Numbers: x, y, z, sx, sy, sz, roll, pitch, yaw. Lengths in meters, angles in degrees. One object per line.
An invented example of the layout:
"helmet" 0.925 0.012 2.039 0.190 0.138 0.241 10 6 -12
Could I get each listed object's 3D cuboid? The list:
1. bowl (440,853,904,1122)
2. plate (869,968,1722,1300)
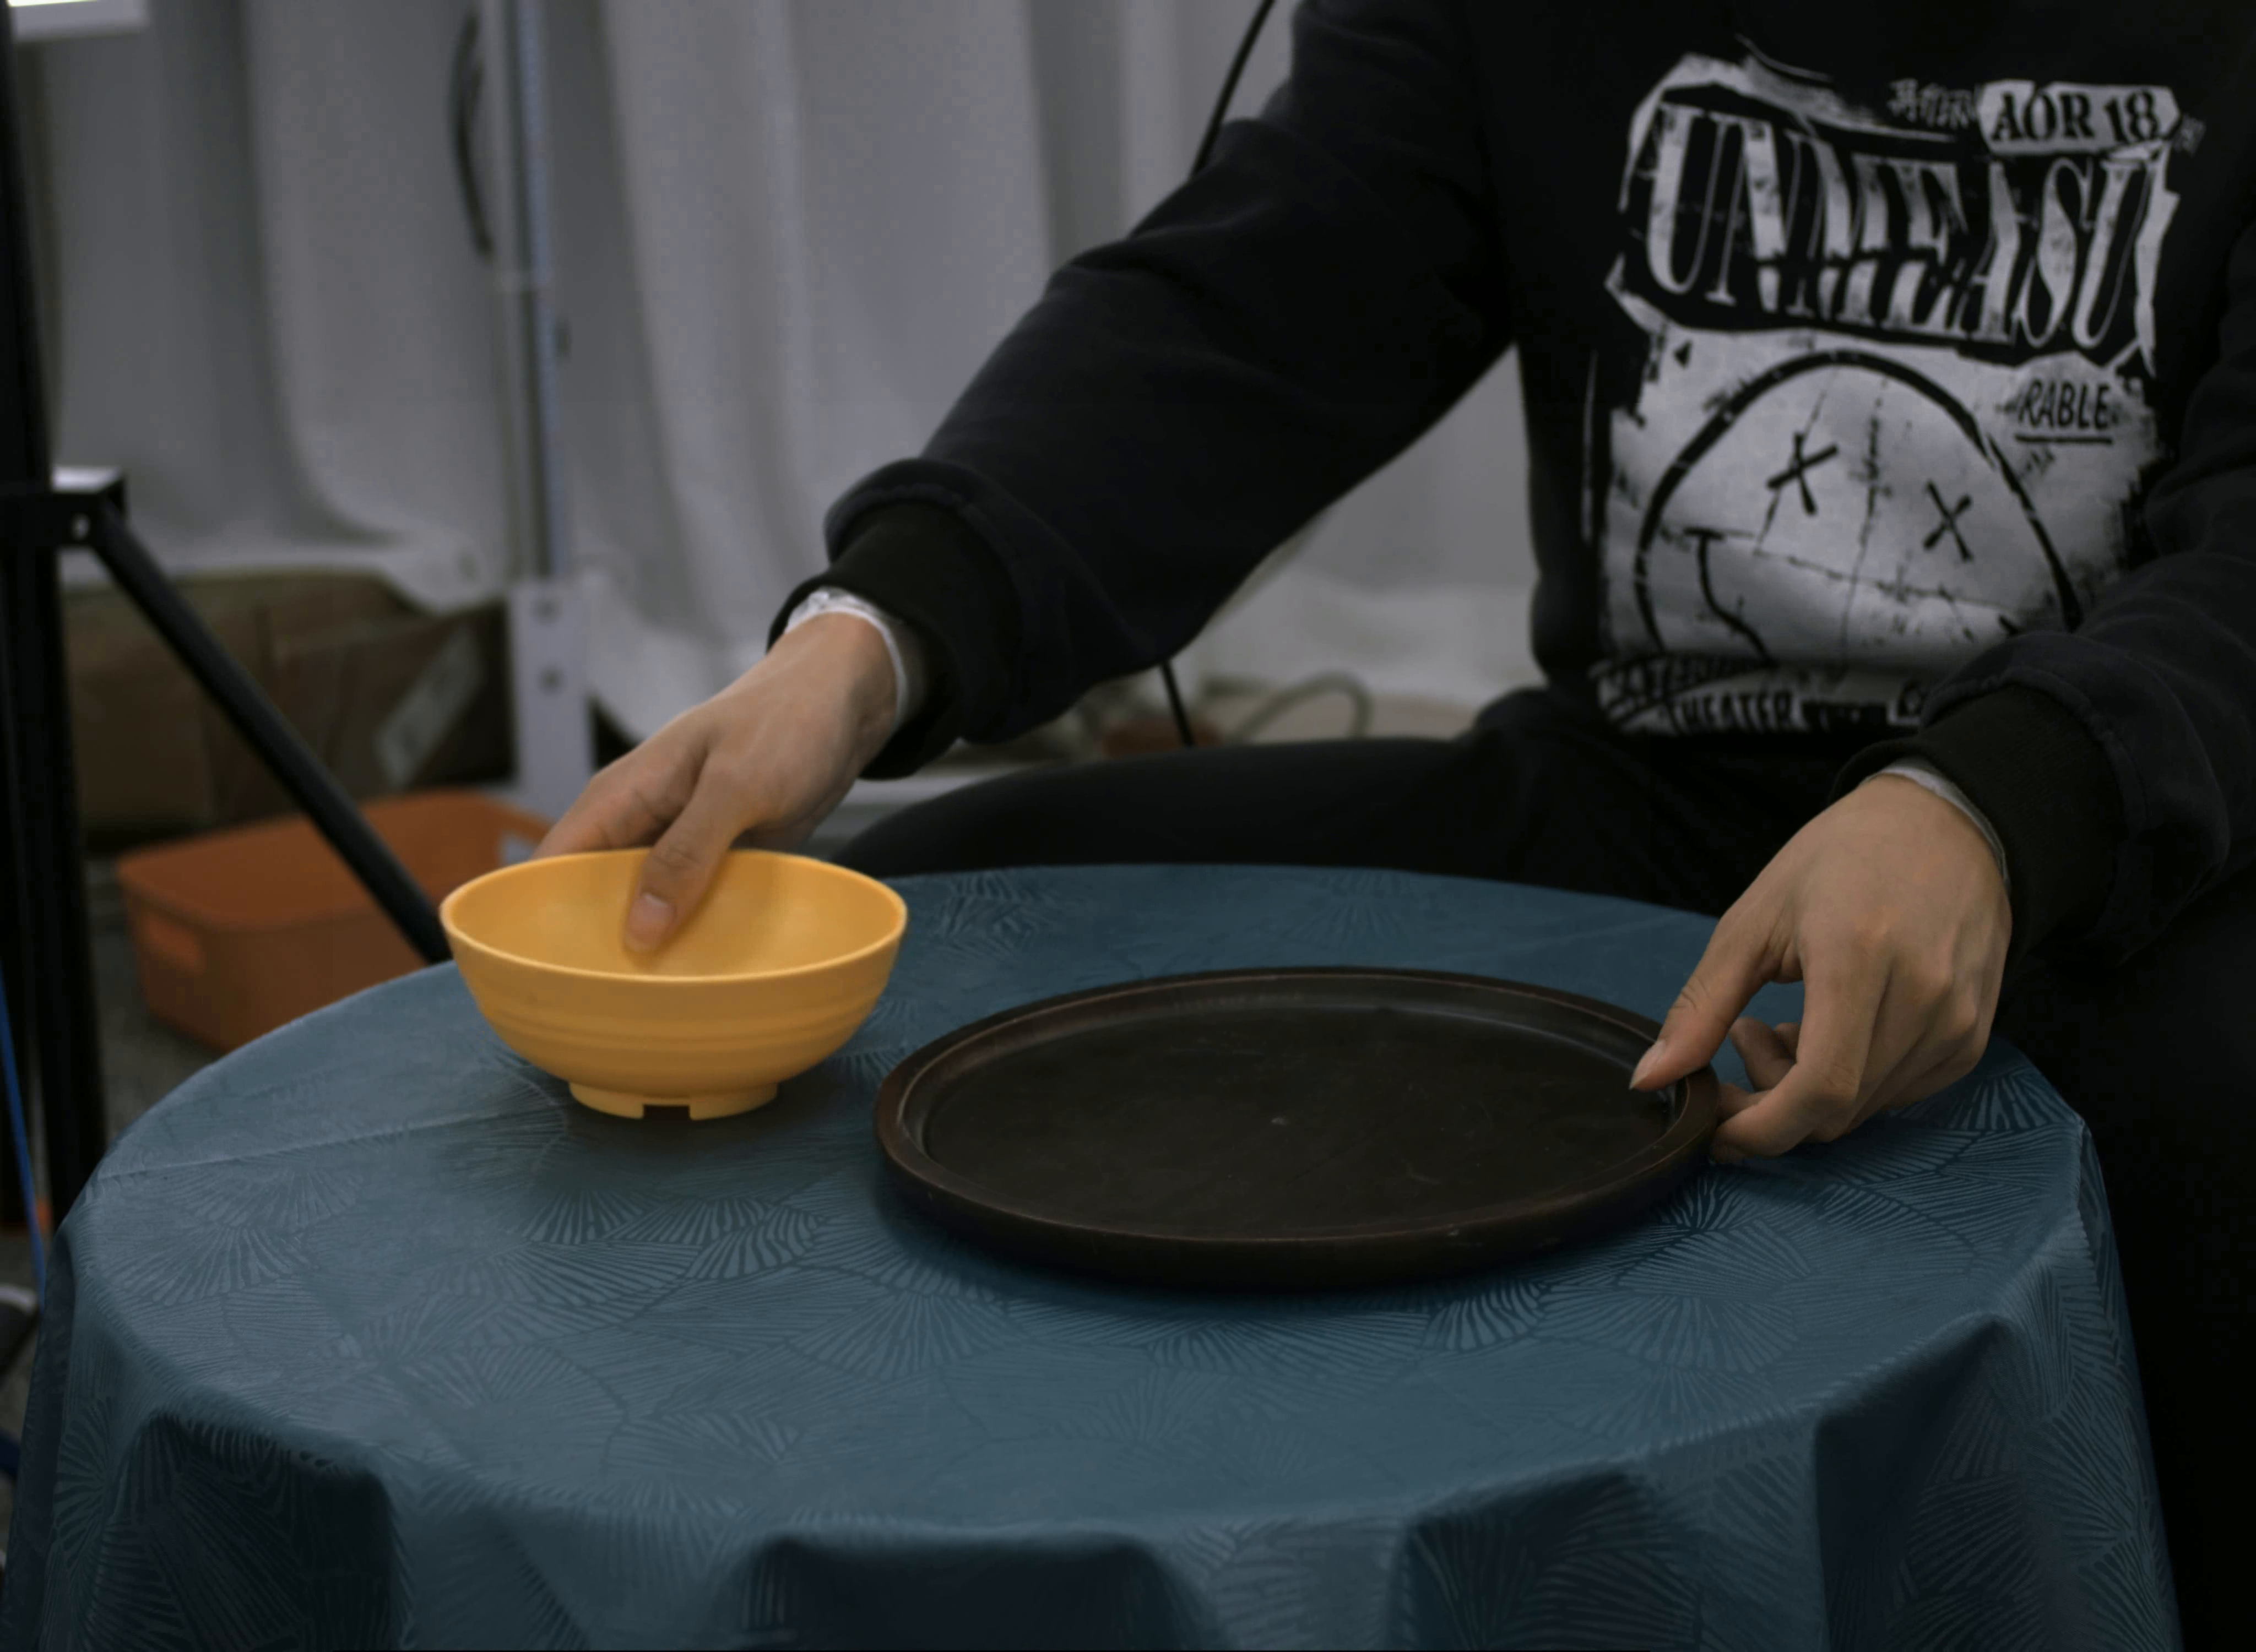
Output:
"bowl" -0.143 0.055 1.660 0.144 0.060 0.146 3 13 -2
"plate" 0.050 0.089 1.575 0.253 0.029 0.256 -4 14 0
